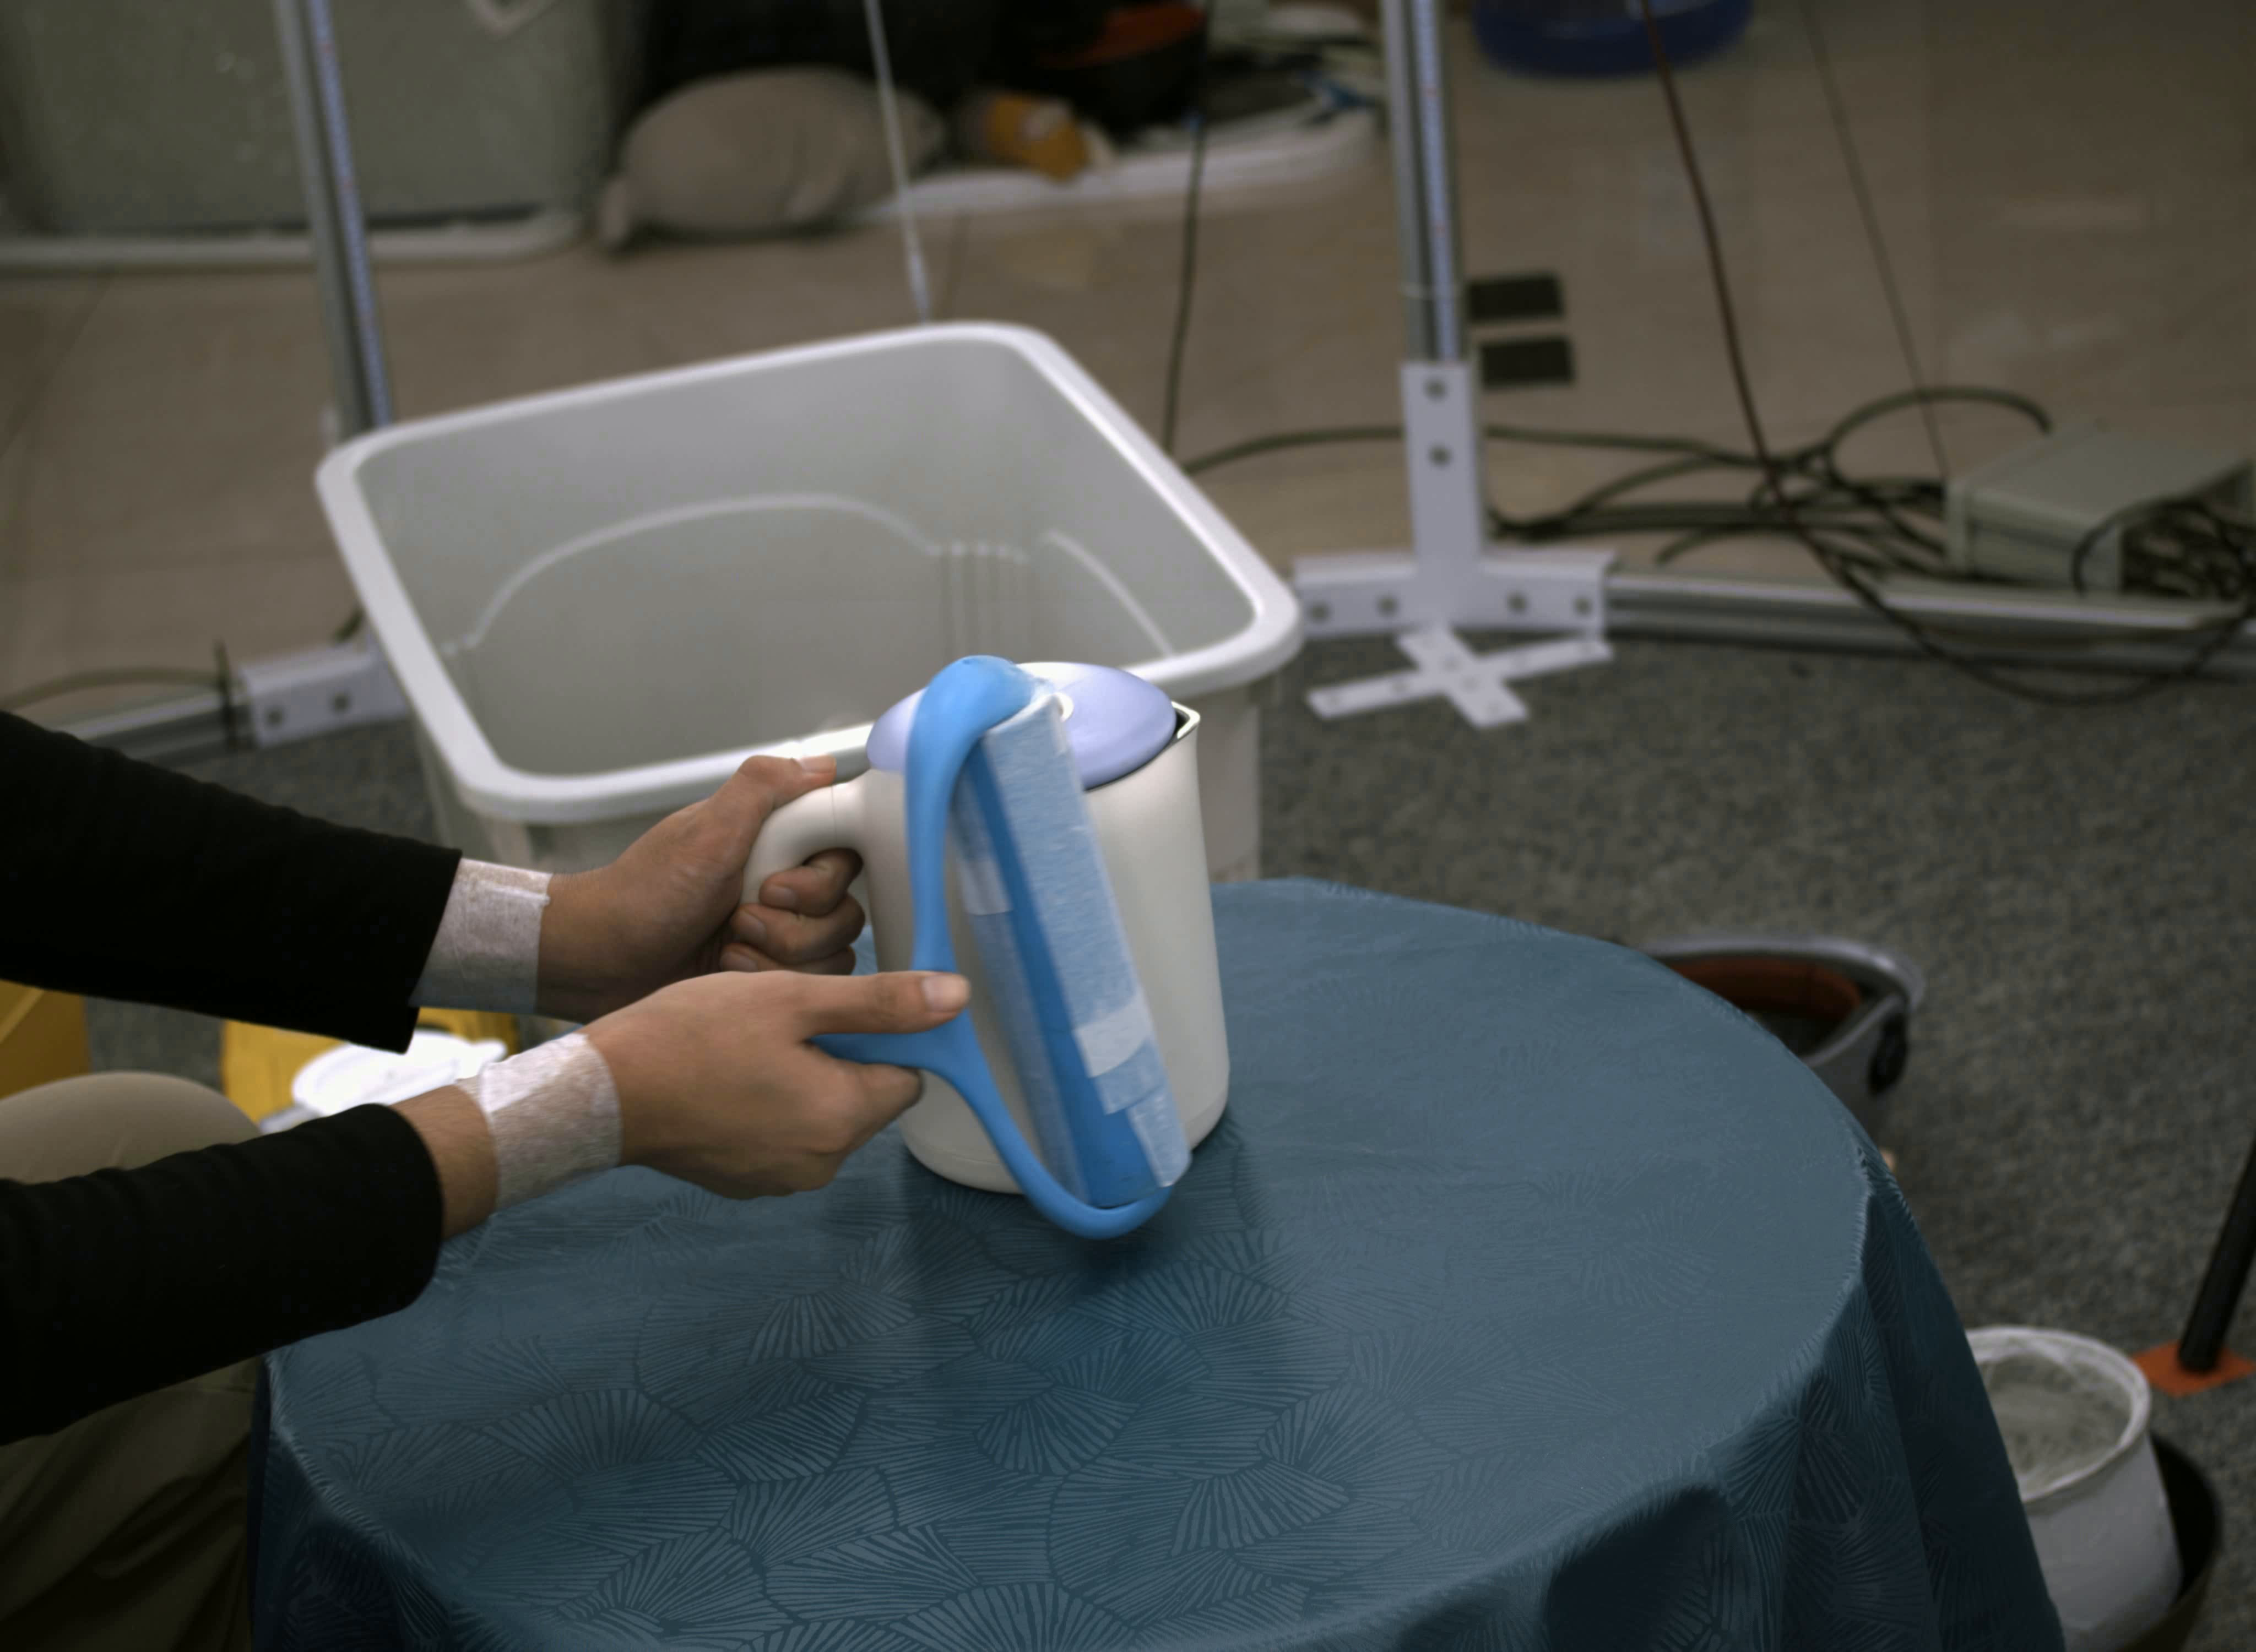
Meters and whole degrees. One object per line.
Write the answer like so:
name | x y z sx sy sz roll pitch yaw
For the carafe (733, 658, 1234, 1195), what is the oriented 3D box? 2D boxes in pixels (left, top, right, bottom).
carafe | -0.056 0.042 2.165 0.191 0.185 0.130 -10 25 -2

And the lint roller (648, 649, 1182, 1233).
lint roller | -0.082 0.066 2.053 0.179 0.232 0.067 -25 26 -16
